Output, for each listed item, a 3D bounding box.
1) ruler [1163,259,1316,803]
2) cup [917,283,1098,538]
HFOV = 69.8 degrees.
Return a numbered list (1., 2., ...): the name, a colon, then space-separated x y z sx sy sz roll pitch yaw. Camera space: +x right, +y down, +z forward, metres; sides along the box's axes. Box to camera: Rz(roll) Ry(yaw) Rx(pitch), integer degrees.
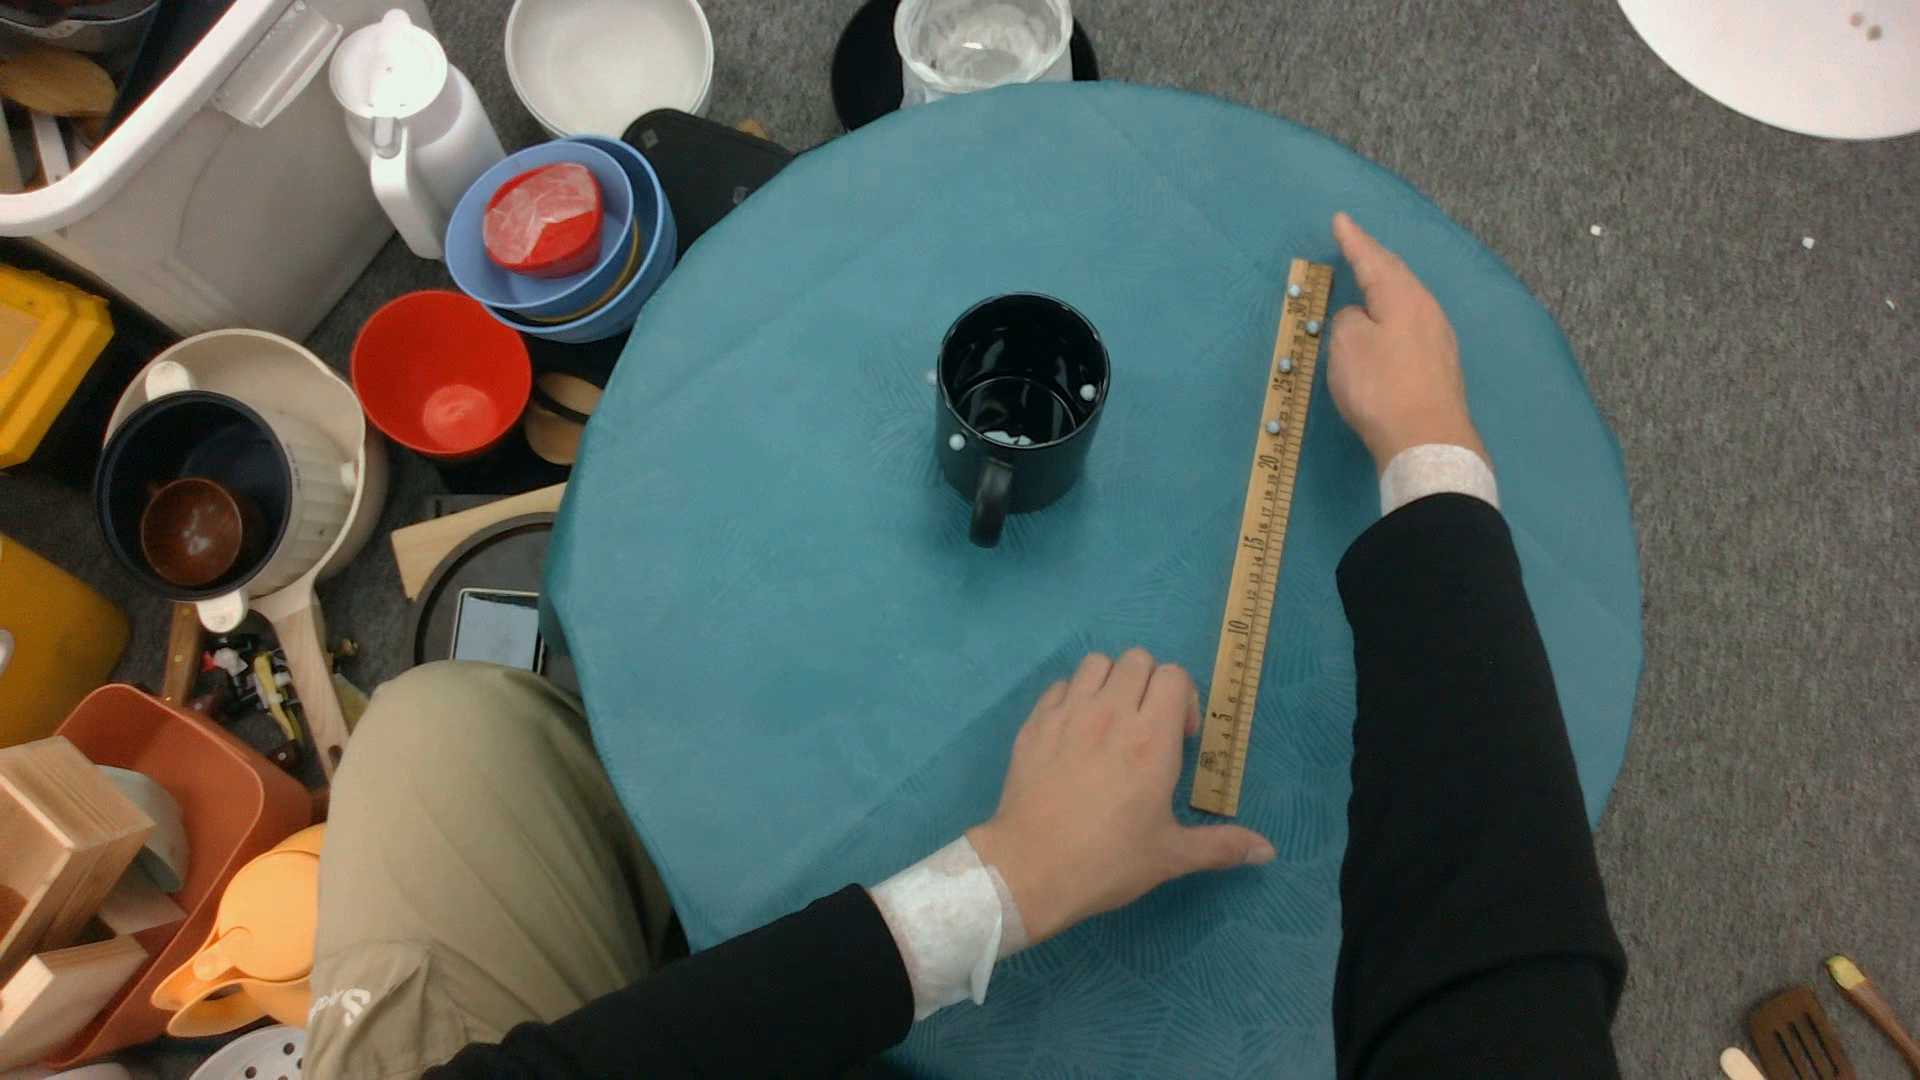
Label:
1. ruler: 0.161 -0.017 0.774 0.027 0.022 0.333 13 71 7
2. cup: 0.018 -0.060 0.733 0.088 0.105 0.124 16 73 1
